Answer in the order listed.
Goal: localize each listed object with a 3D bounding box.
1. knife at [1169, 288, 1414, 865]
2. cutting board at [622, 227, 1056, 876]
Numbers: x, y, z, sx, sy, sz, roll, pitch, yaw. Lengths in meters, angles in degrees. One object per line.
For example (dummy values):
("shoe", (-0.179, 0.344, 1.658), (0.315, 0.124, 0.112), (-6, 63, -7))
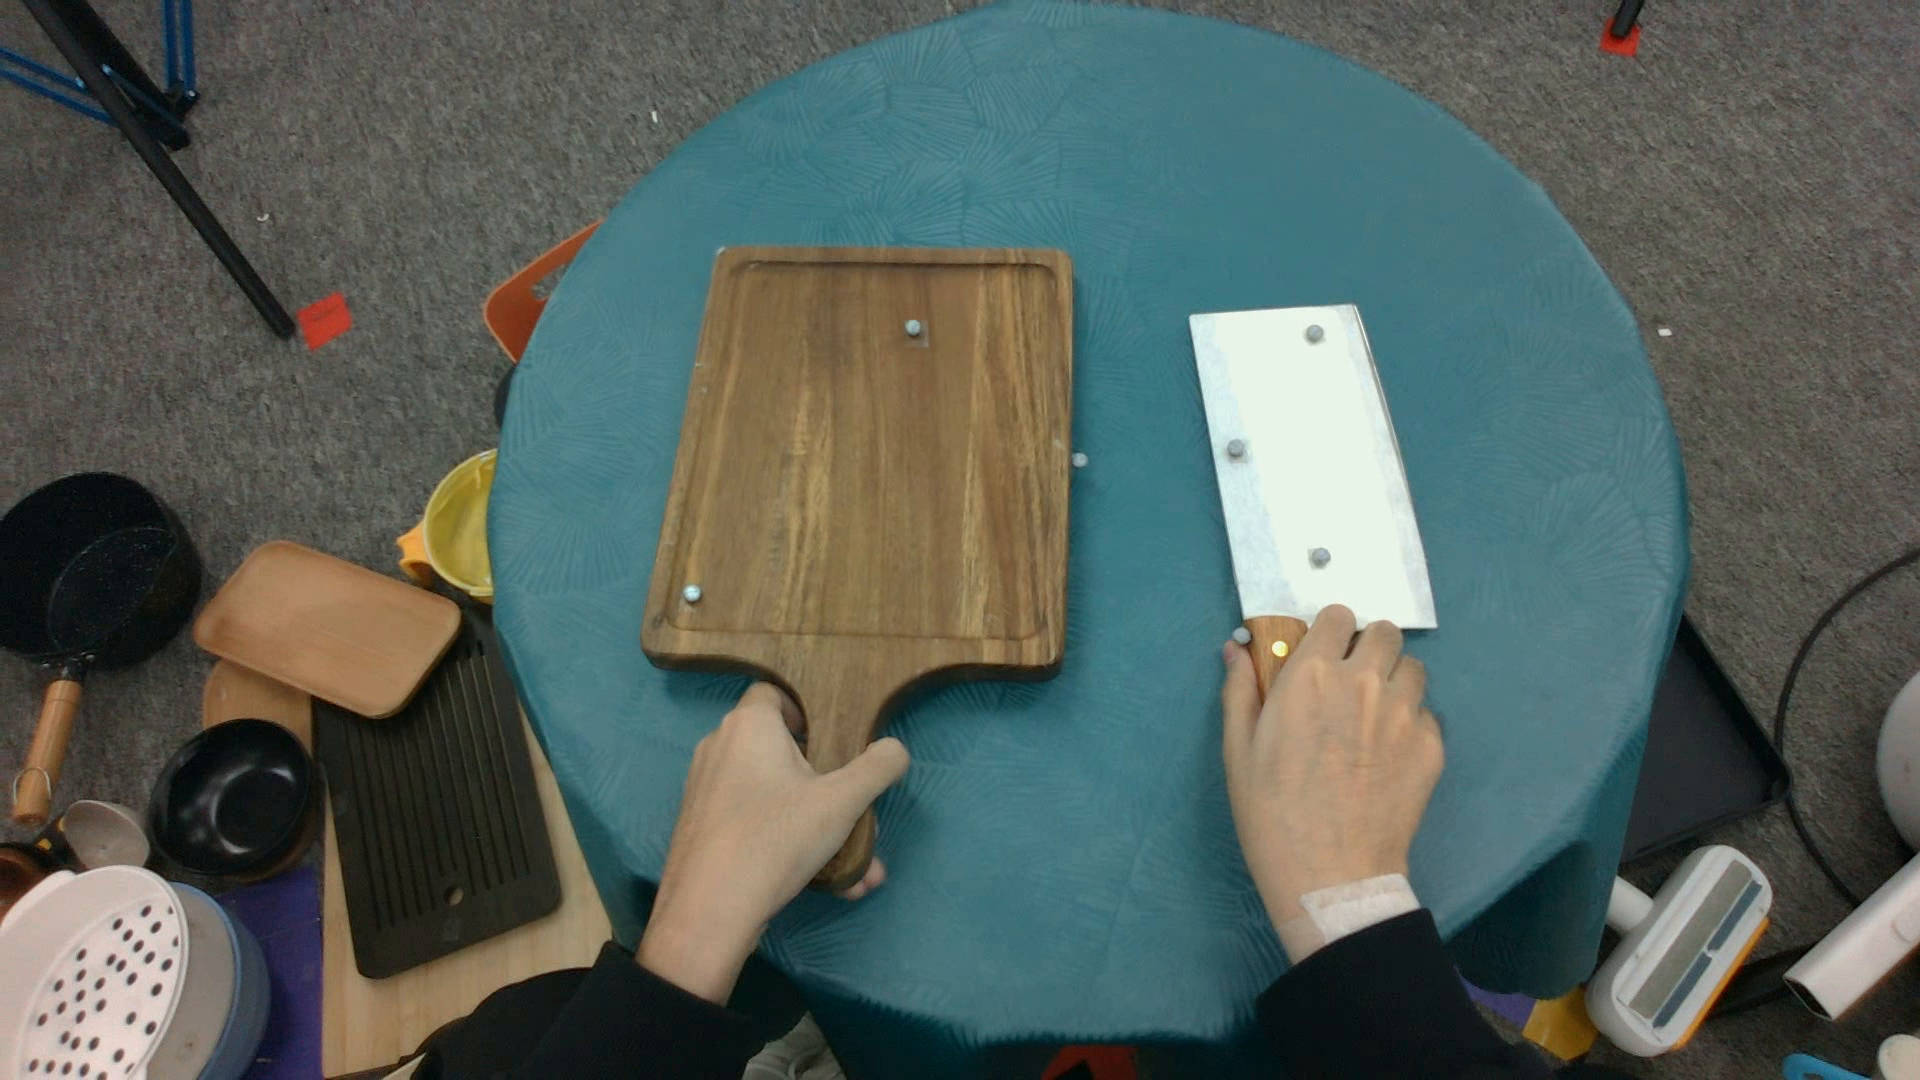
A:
("knife", (0.165, 0.001, 0.659), (0.093, 0.021, 0.307), (-3, 61, -2))
("cutting board", (-0.054, -0.014, 0.663), (0.201, 0.023, 0.353), (1, 60, 3))
